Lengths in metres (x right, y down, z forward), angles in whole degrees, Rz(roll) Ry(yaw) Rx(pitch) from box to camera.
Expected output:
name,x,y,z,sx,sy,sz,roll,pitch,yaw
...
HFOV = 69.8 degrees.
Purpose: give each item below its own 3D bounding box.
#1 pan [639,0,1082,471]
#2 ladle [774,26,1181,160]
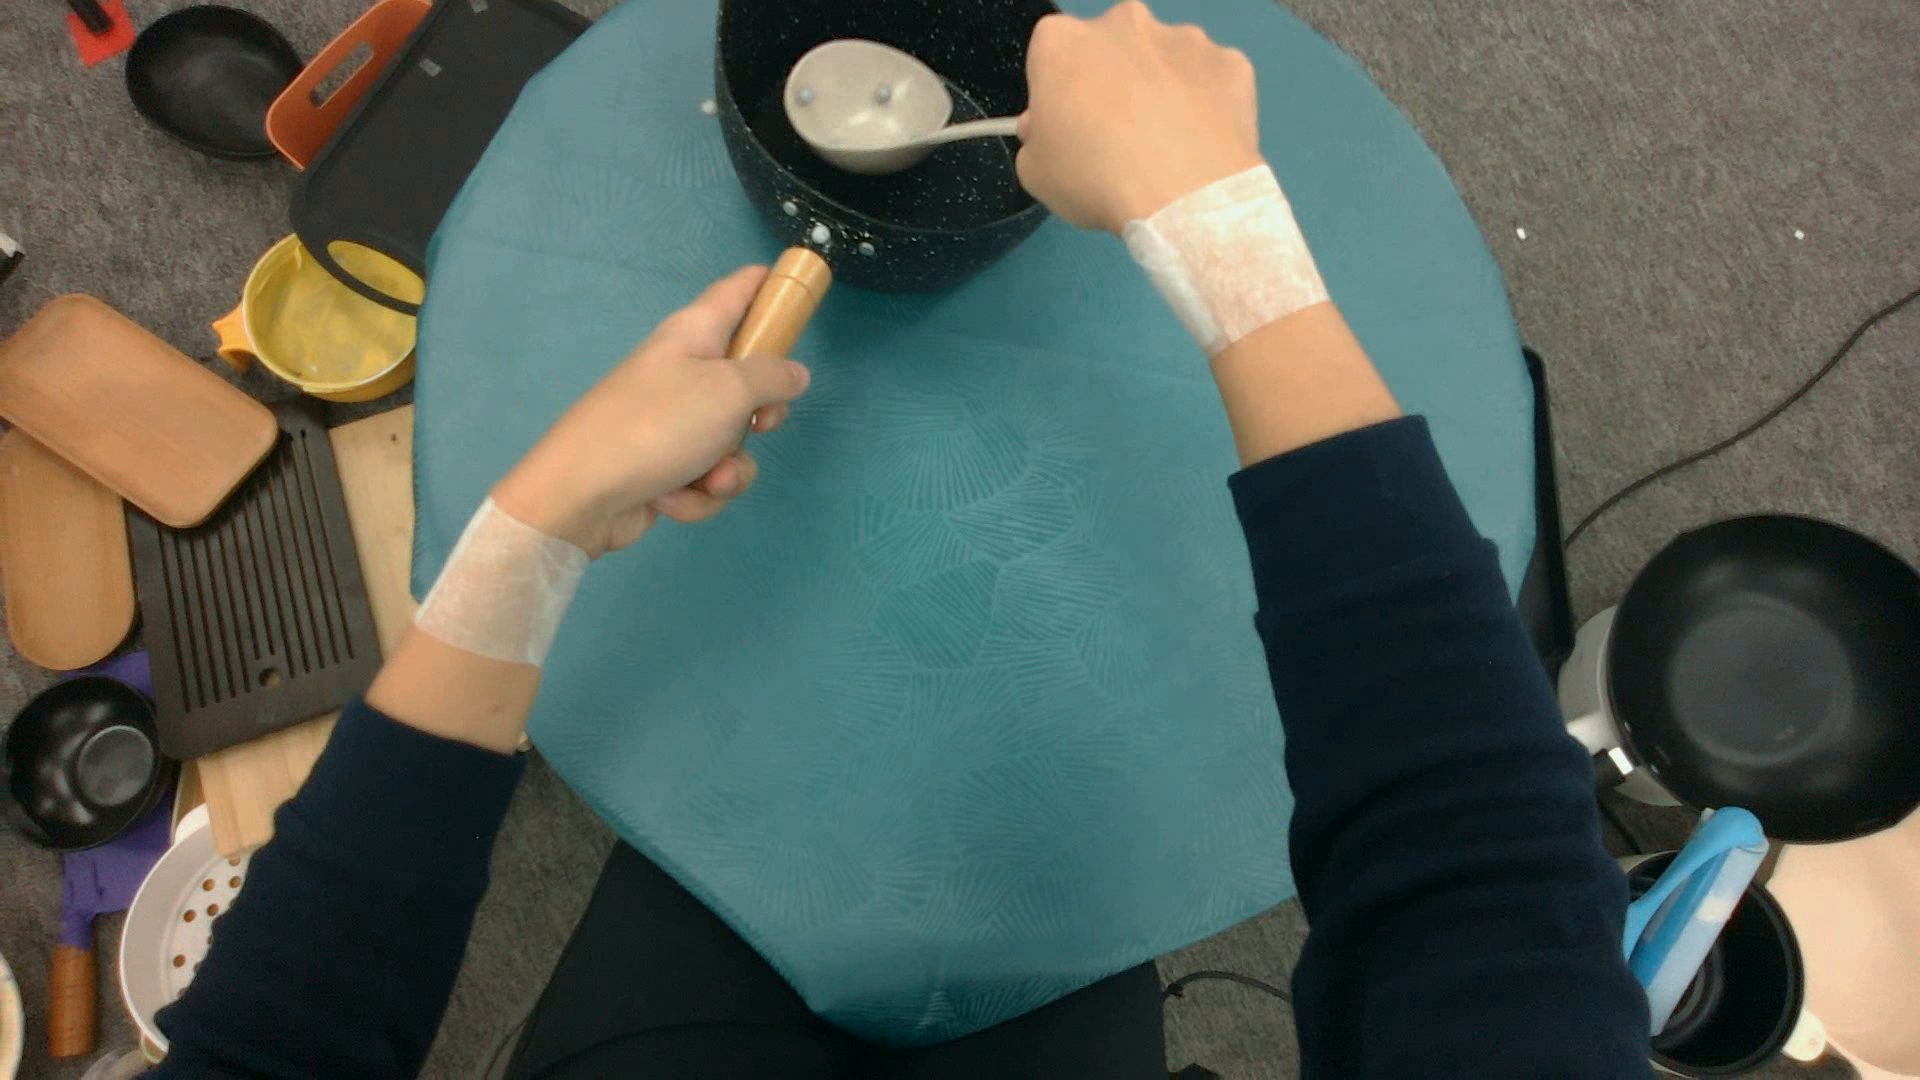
name,x,y,z,sx,sy,sz,roll,pitch,yaw
pan,-0.065,-0.156,0.659,0.207,0.108,0.344,25,64,-5
ladle,0.003,-0.213,0.627,0.089,0.274,0.069,-19,110,-27
